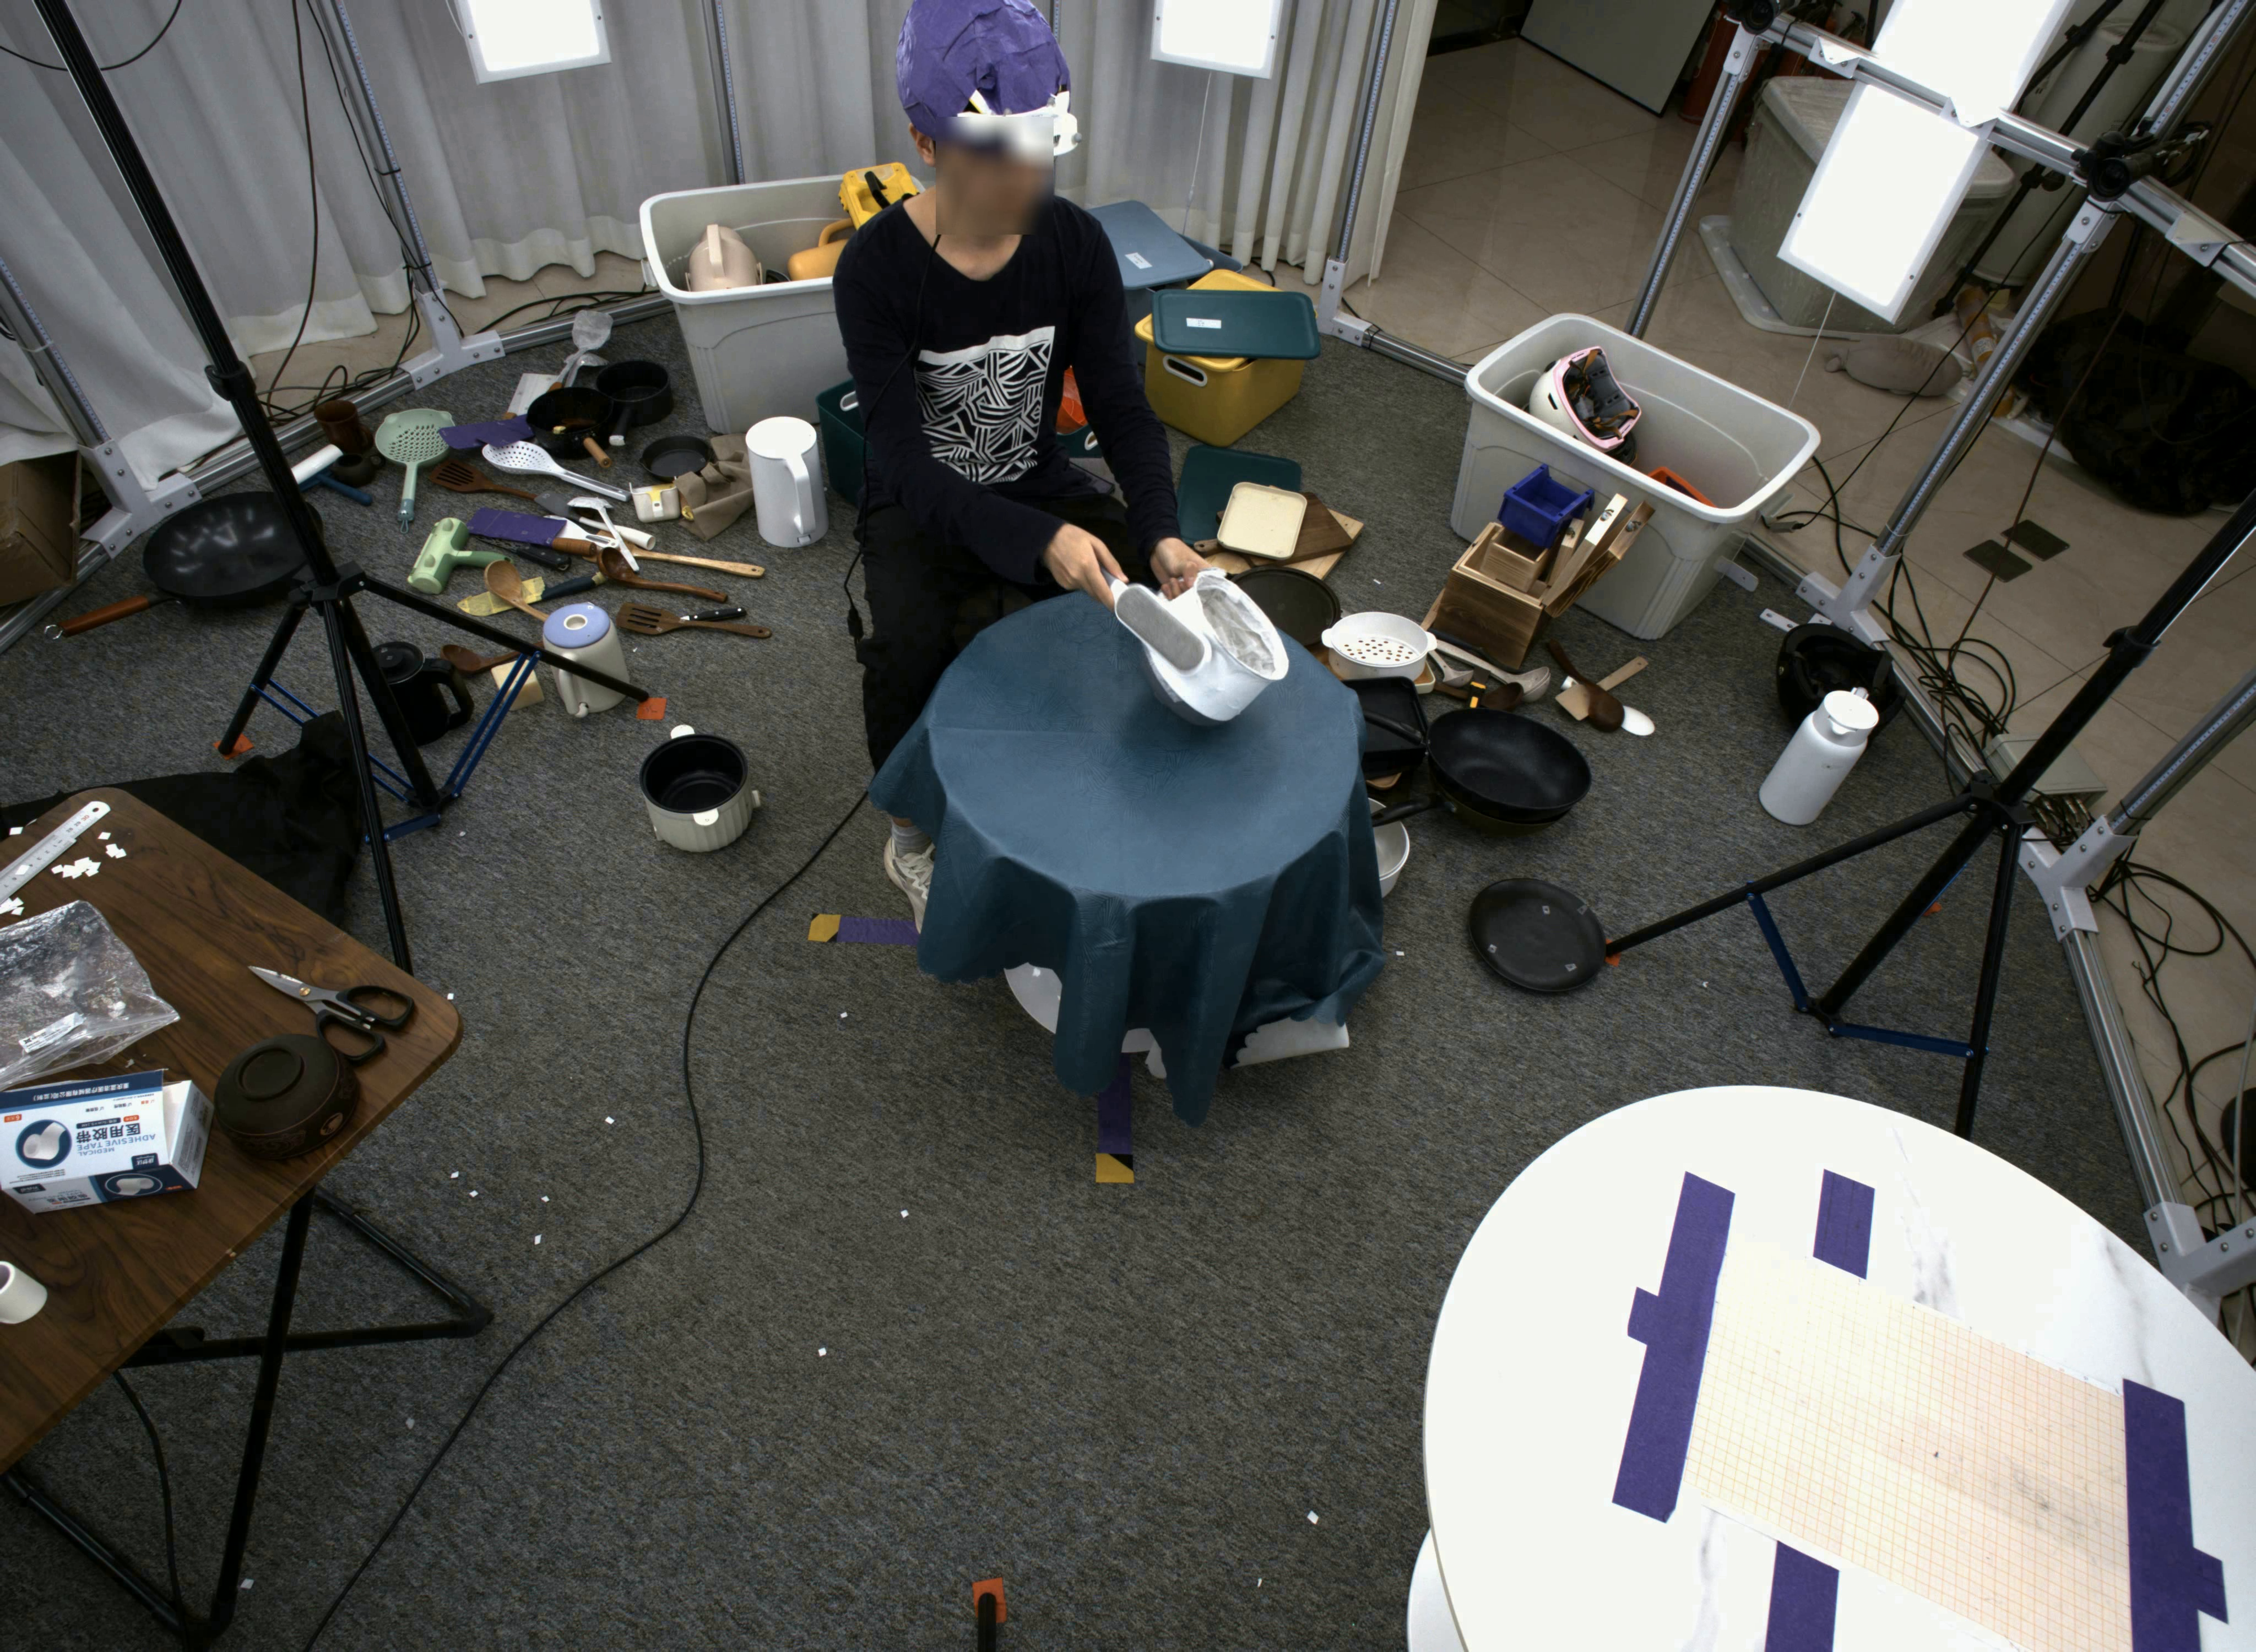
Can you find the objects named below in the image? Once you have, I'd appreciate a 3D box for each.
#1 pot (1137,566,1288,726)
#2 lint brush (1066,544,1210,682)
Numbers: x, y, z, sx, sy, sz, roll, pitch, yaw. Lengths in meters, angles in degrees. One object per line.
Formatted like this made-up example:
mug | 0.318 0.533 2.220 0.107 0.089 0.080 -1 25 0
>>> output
pot | 0.104 -0.259 1.758 0.176 0.135 0.239 20 44 -43
lint brush | 0.008 -0.292 1.709 0.021 0.059 0.315 10 30 -50
